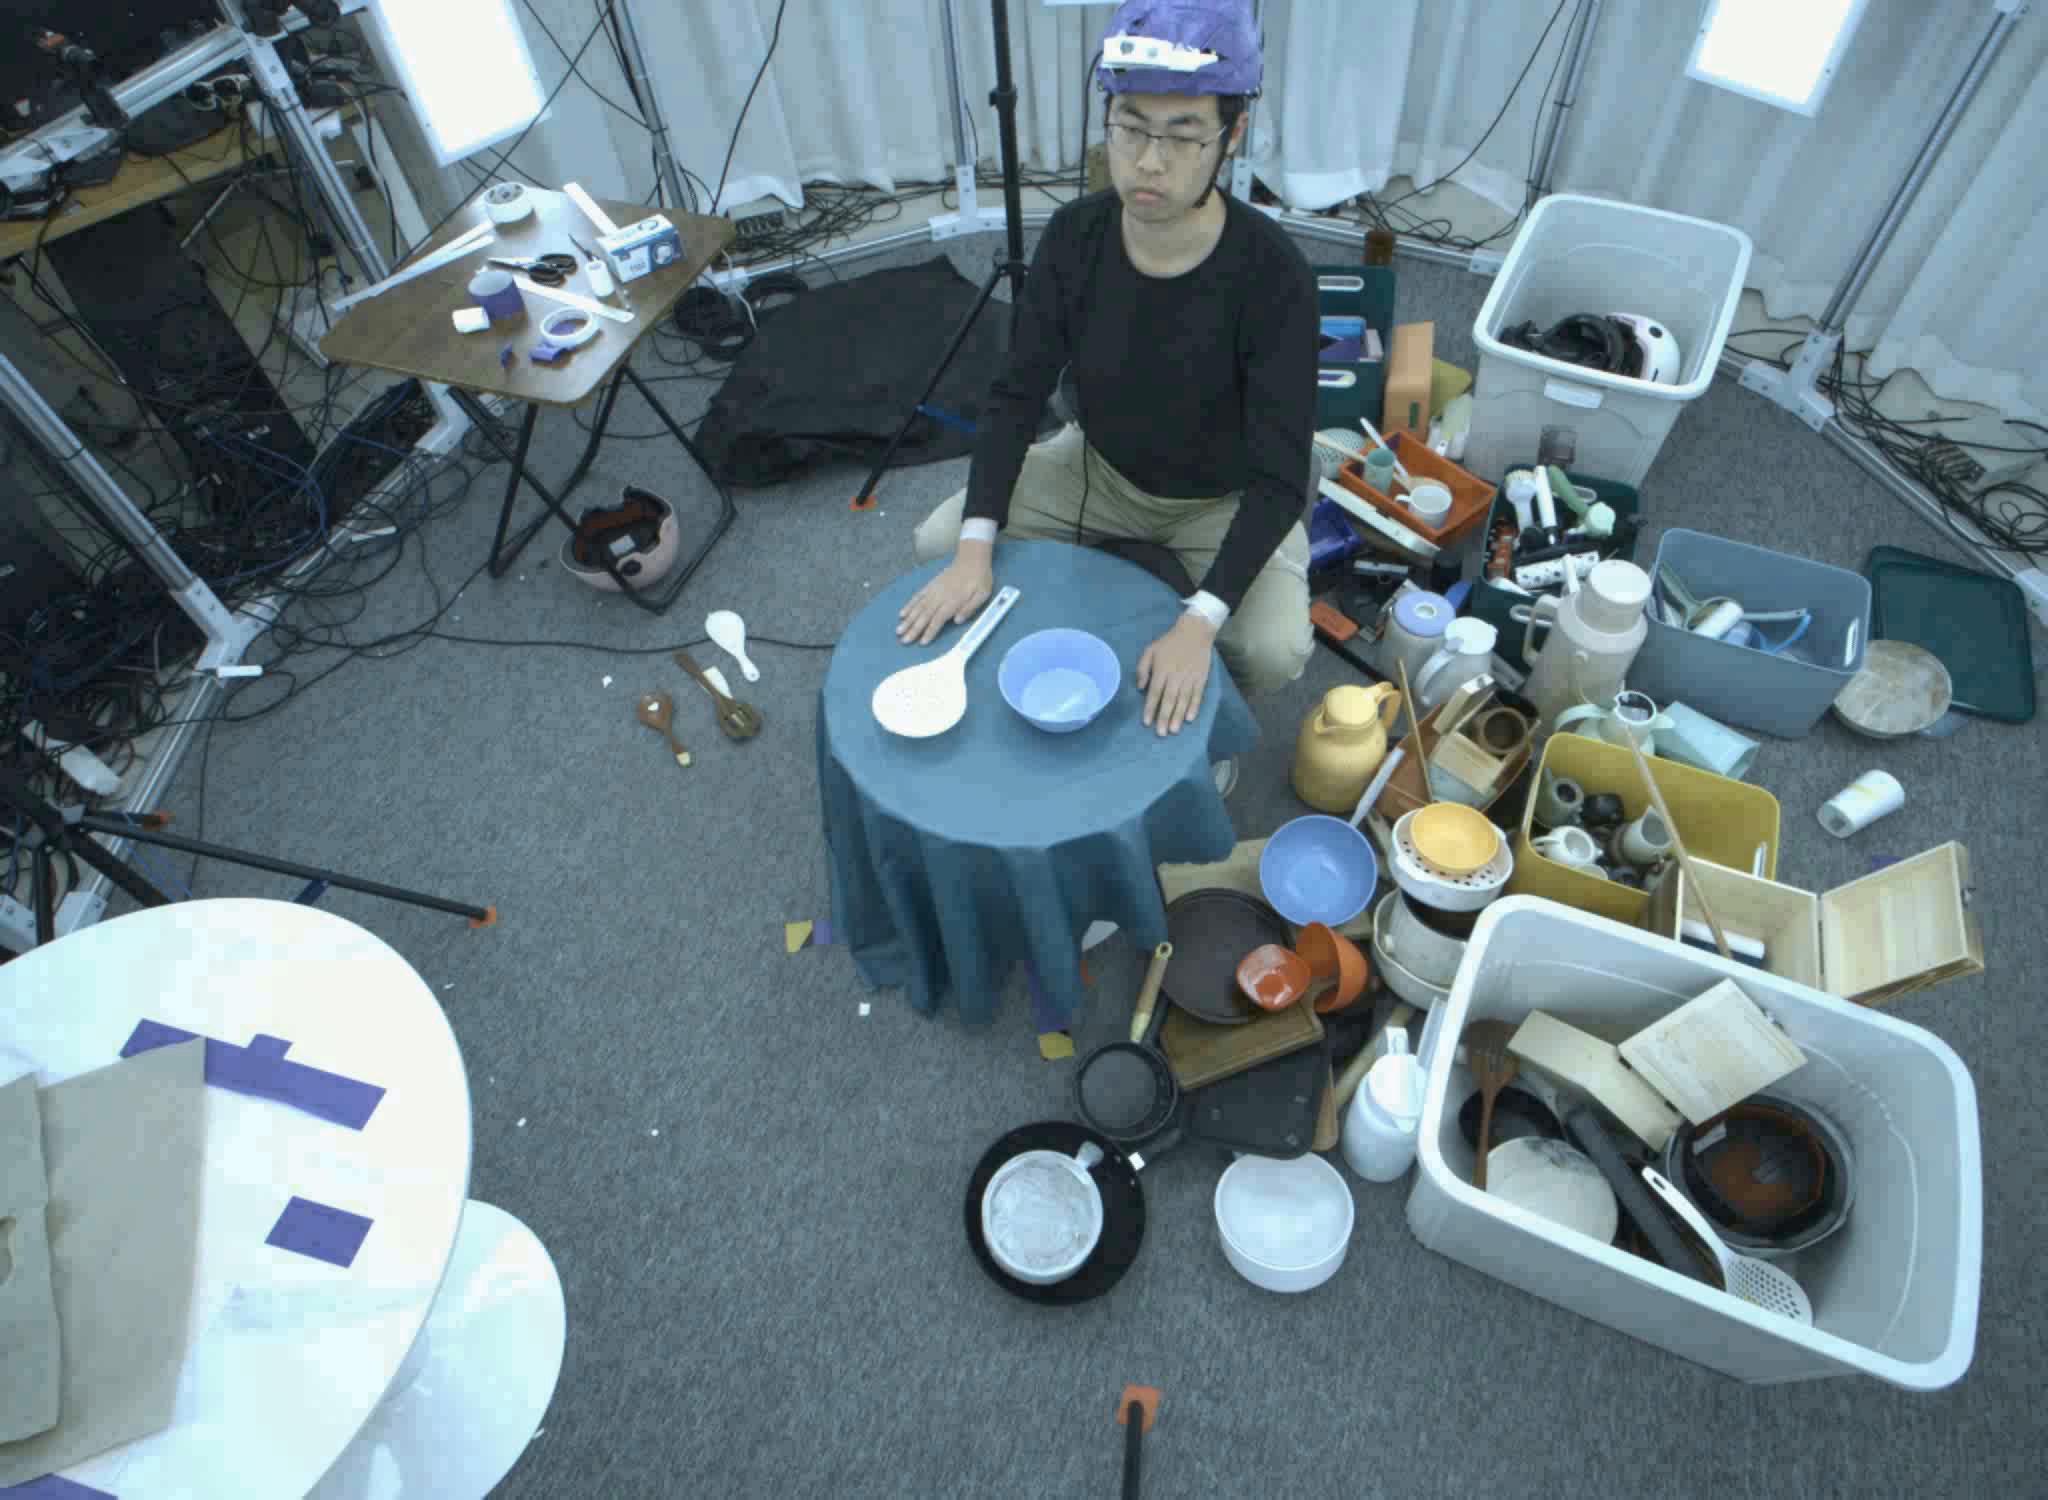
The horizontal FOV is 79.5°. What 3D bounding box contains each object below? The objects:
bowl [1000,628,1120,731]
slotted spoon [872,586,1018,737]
[{"bbox_3d":[0.053,-0.093,1.809,0.176,0.071,0.174,0,54,2],"label":"bowl"},{"bbox_3d":[-0.103,-0.140,1.862,0.134,0.046,0.350,22,57,17],"label":"slotted spoon"}]
